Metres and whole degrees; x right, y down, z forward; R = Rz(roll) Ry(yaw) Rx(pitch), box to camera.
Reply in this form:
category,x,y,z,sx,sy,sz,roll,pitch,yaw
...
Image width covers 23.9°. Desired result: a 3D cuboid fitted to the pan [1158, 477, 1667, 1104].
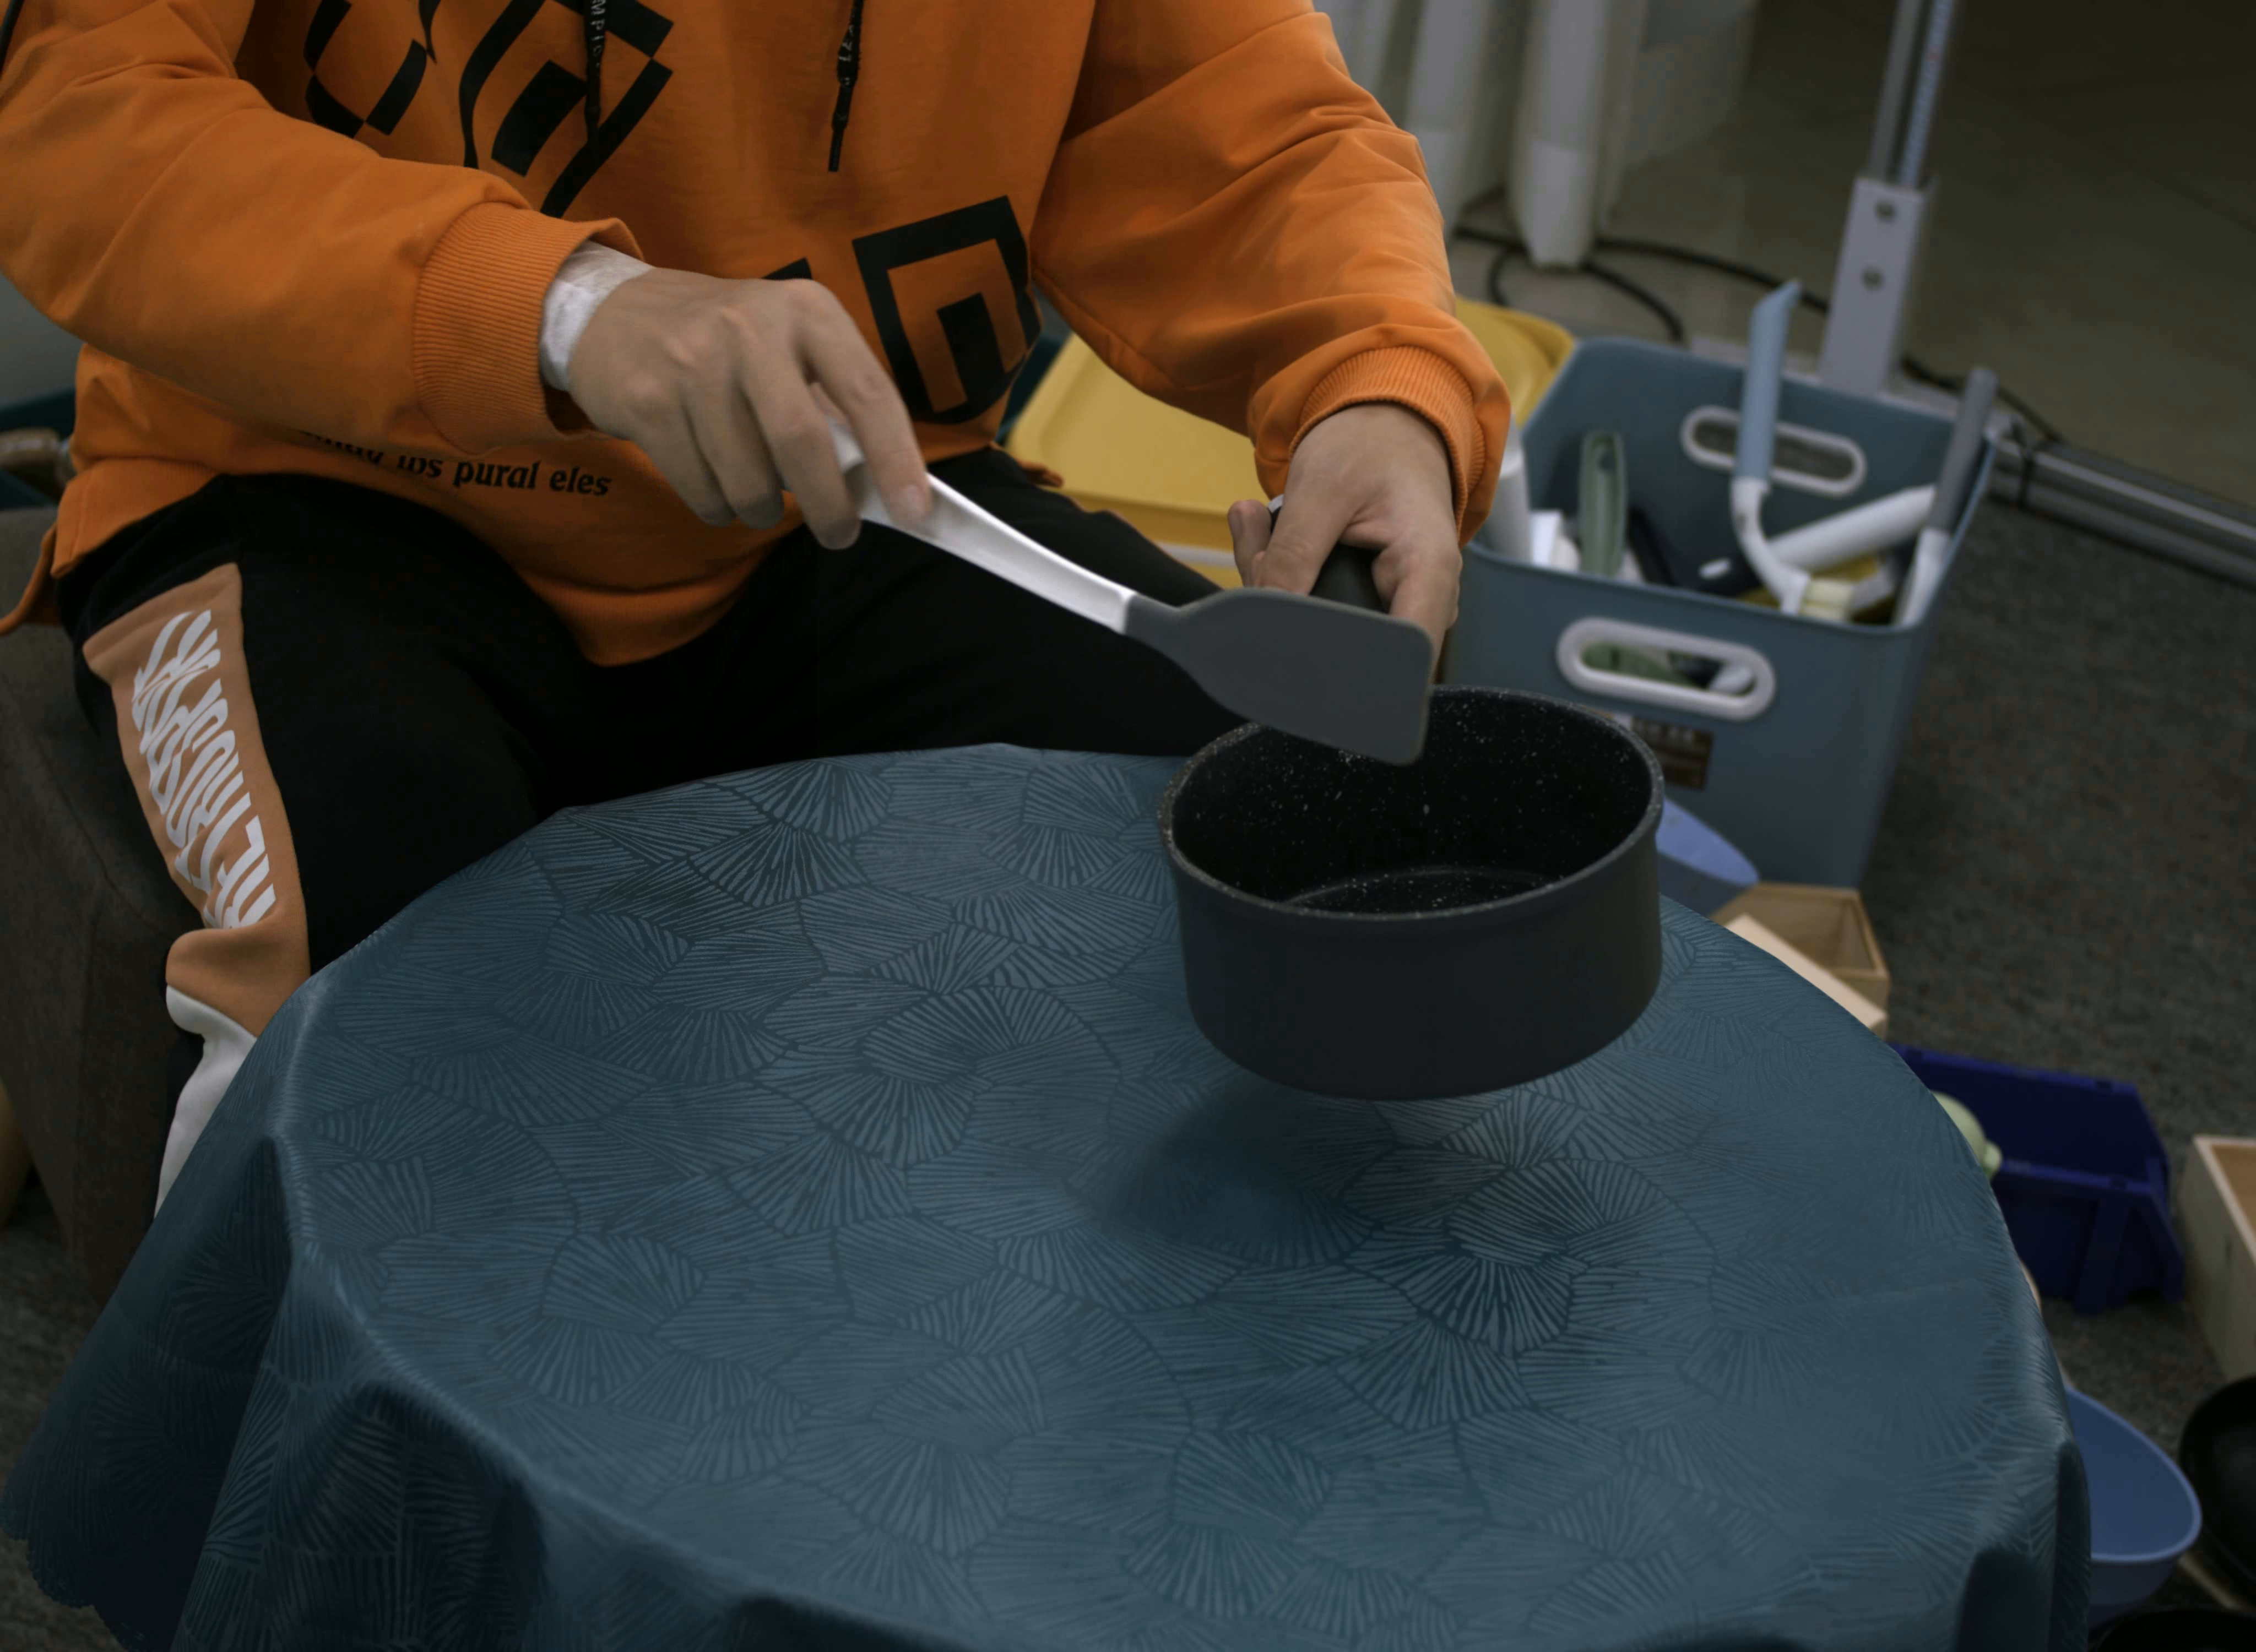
category,x,y,z,sx,sy,sz,roll,pitch,yaw
pan,0.092,-0.016,1.873,0.171,0.086,0.331,-6,28,-1

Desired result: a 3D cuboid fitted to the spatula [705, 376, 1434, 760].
category,x,y,z,sx,sy,sz,roll,pitch,yaw
spatula,-0.023,-0.090,1.785,0.289,0.058,0.032,24,32,28
